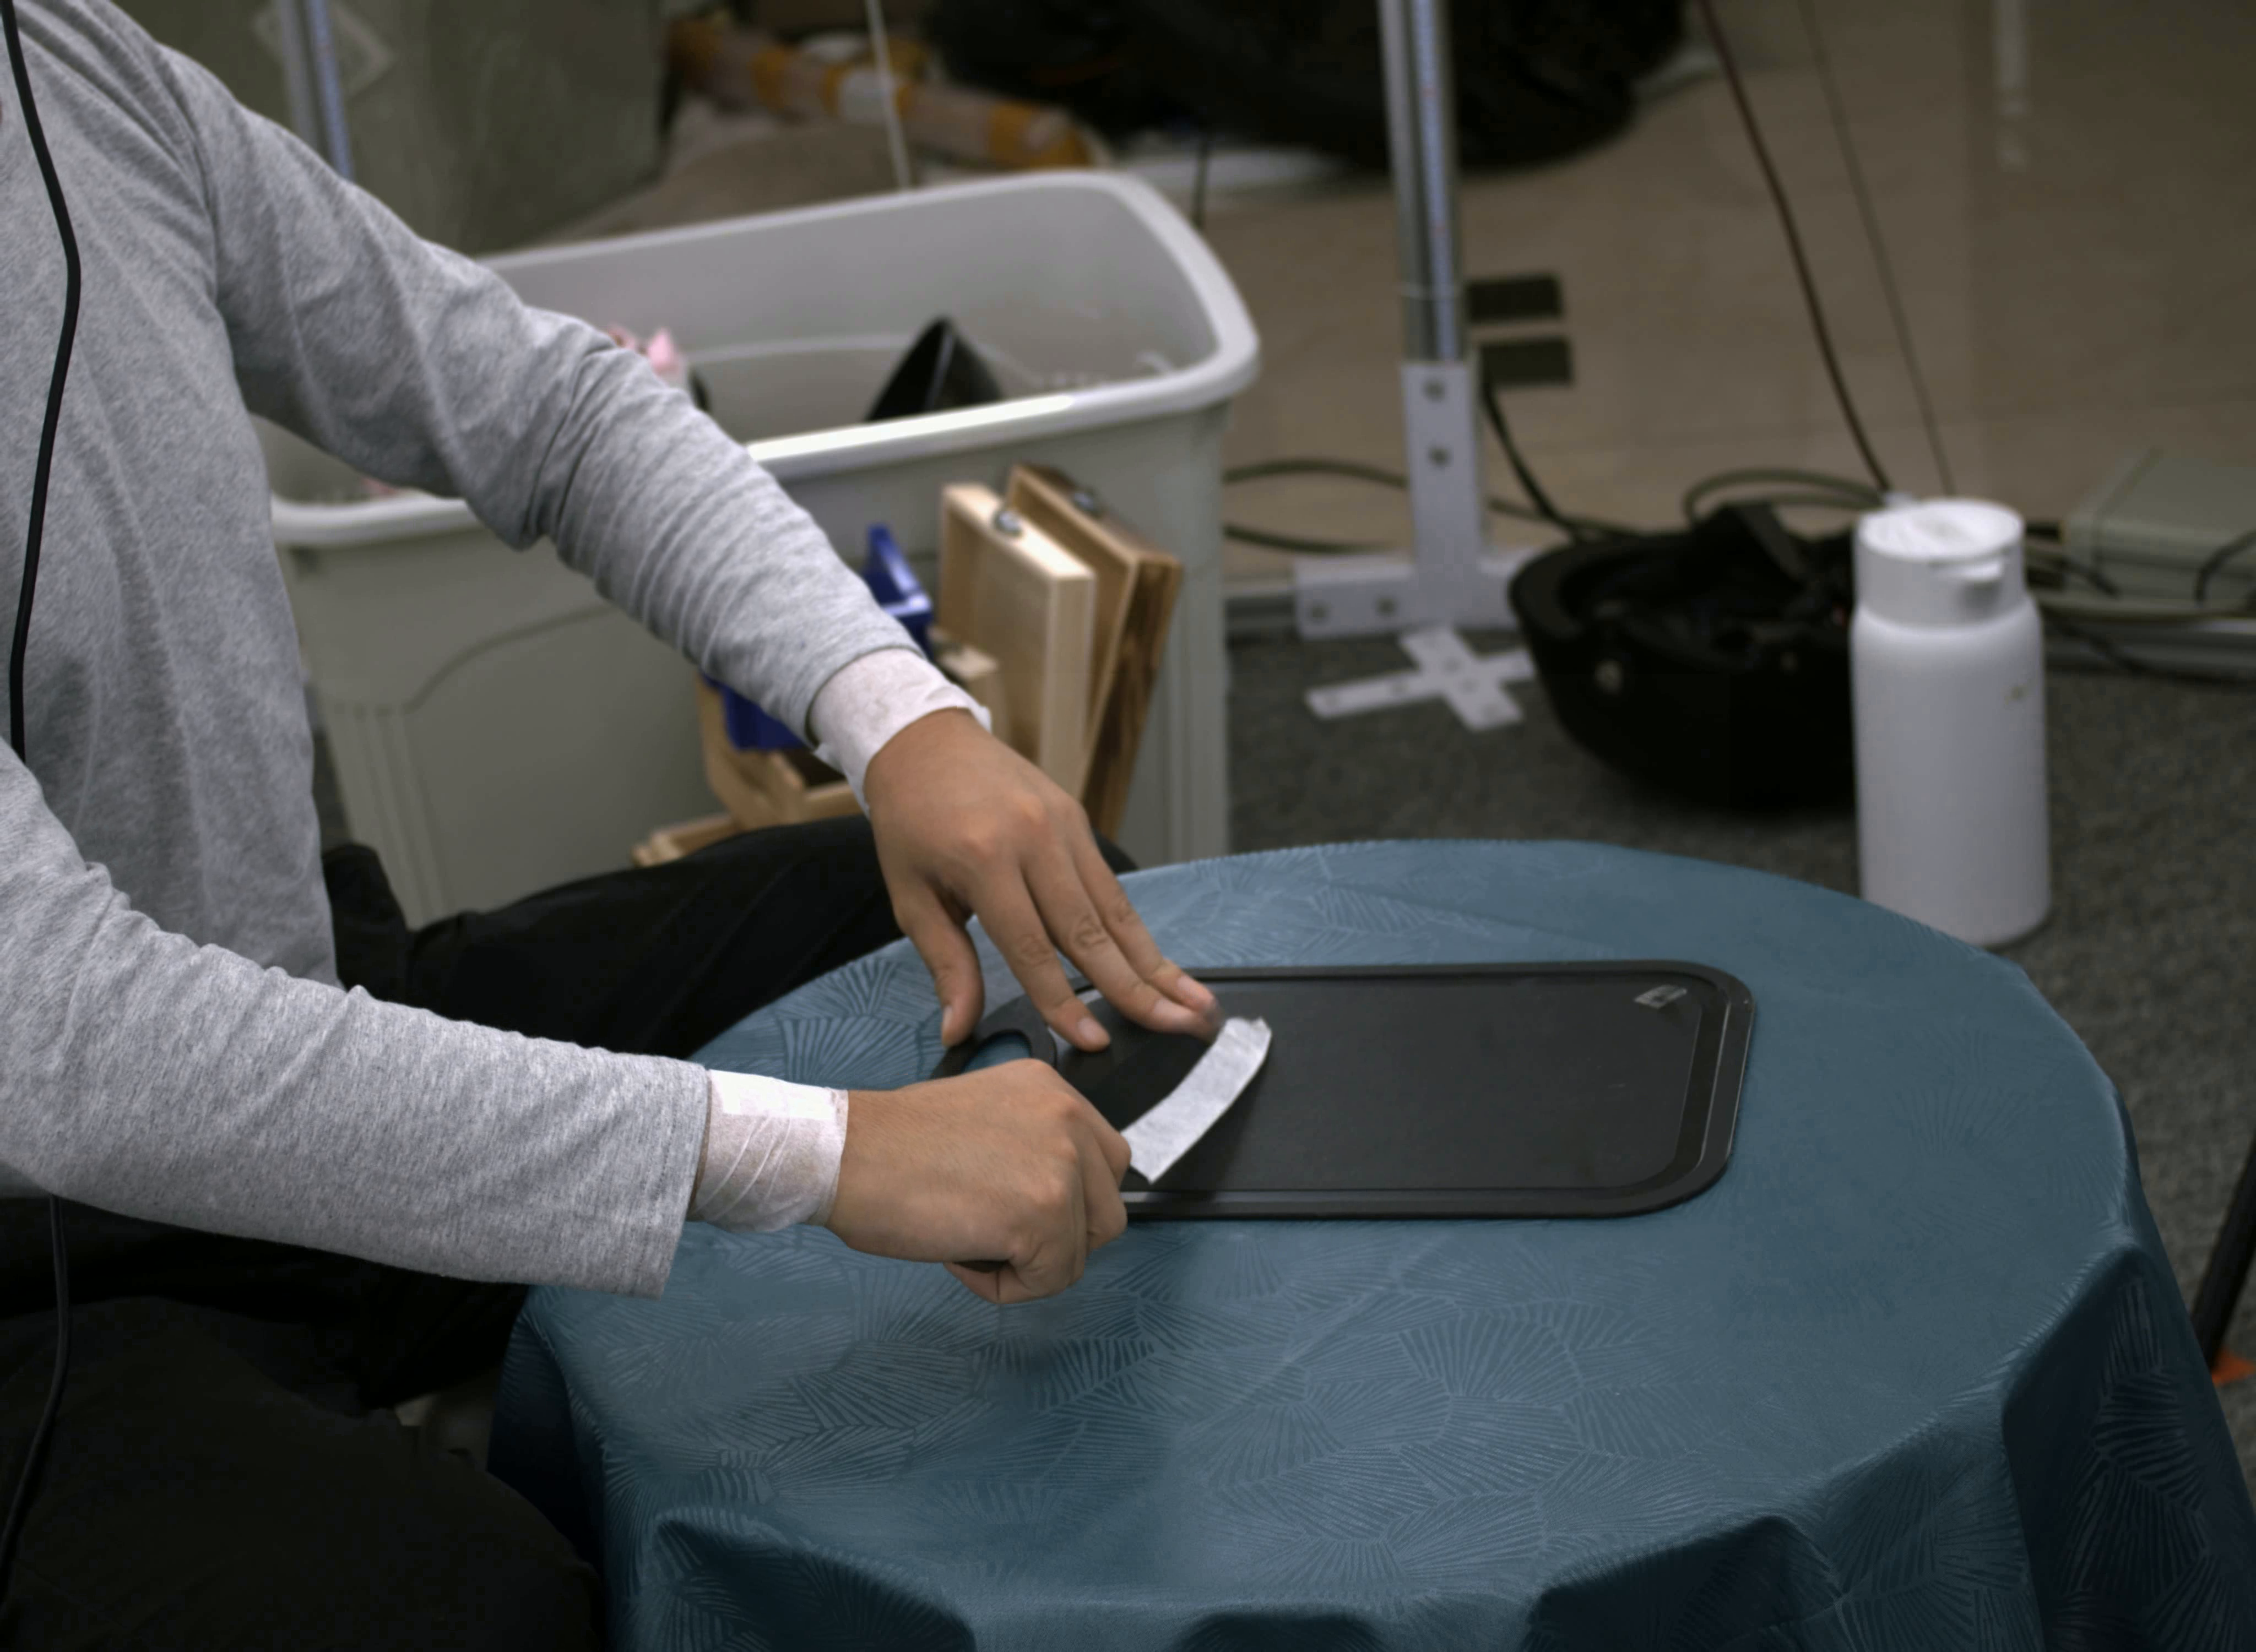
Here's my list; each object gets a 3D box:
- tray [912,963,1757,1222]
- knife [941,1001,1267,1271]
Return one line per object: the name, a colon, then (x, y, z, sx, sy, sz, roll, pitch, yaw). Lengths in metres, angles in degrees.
tray: (0.077, 0.100, 2.209, 0.325, 0.010, 0.208, -1, 25, 13)
knife: (-0.004, 0.112, 2.127, 0.050, 0.020, 0.286, 35, 25, 11)
